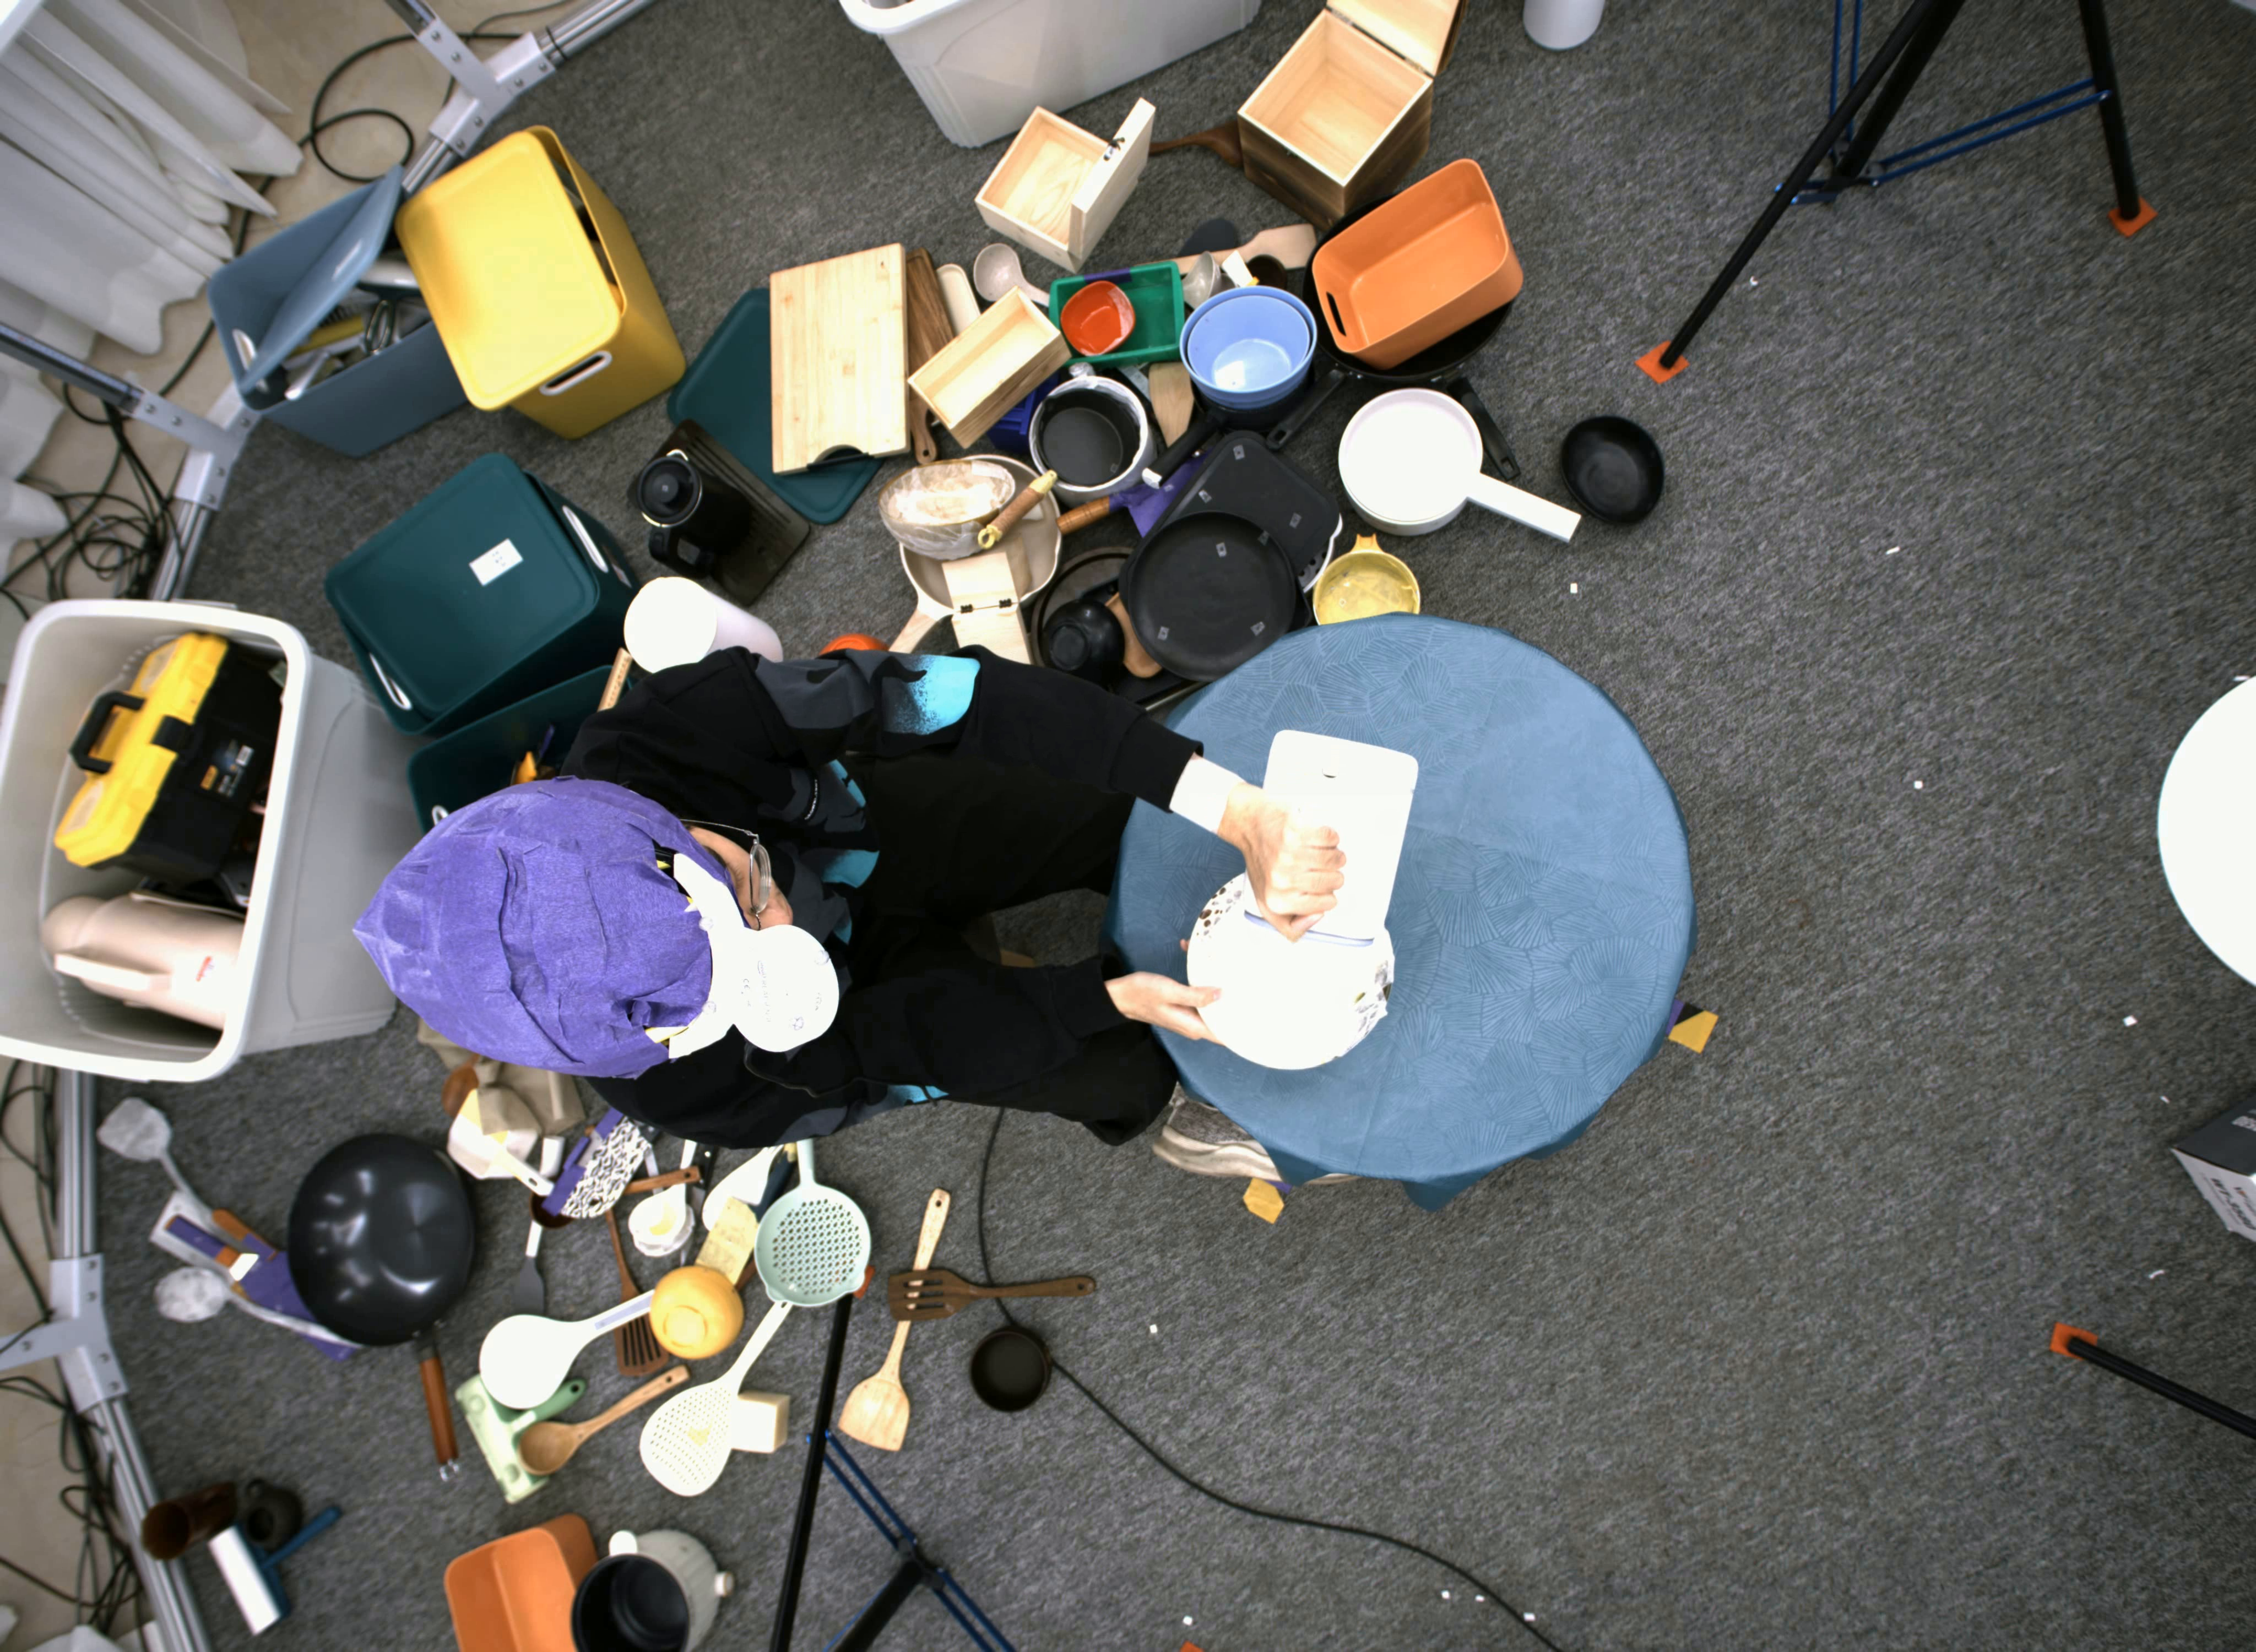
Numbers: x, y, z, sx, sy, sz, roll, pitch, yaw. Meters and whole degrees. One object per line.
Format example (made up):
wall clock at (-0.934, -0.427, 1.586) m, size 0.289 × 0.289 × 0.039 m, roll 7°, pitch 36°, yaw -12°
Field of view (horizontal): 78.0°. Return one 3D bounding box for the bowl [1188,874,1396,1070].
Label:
bowl at (0.166, 0.142, 1.394) m, size 0.205 × 0.078 × 0.202 m, roll -2°, pitch 84°, yaw 12°

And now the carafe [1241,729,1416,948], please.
carafe at (0.168, 0.008, 1.199) m, size 0.132 × 0.190 × 0.182 m, roll 12°, pitch 91°, yaw 18°
